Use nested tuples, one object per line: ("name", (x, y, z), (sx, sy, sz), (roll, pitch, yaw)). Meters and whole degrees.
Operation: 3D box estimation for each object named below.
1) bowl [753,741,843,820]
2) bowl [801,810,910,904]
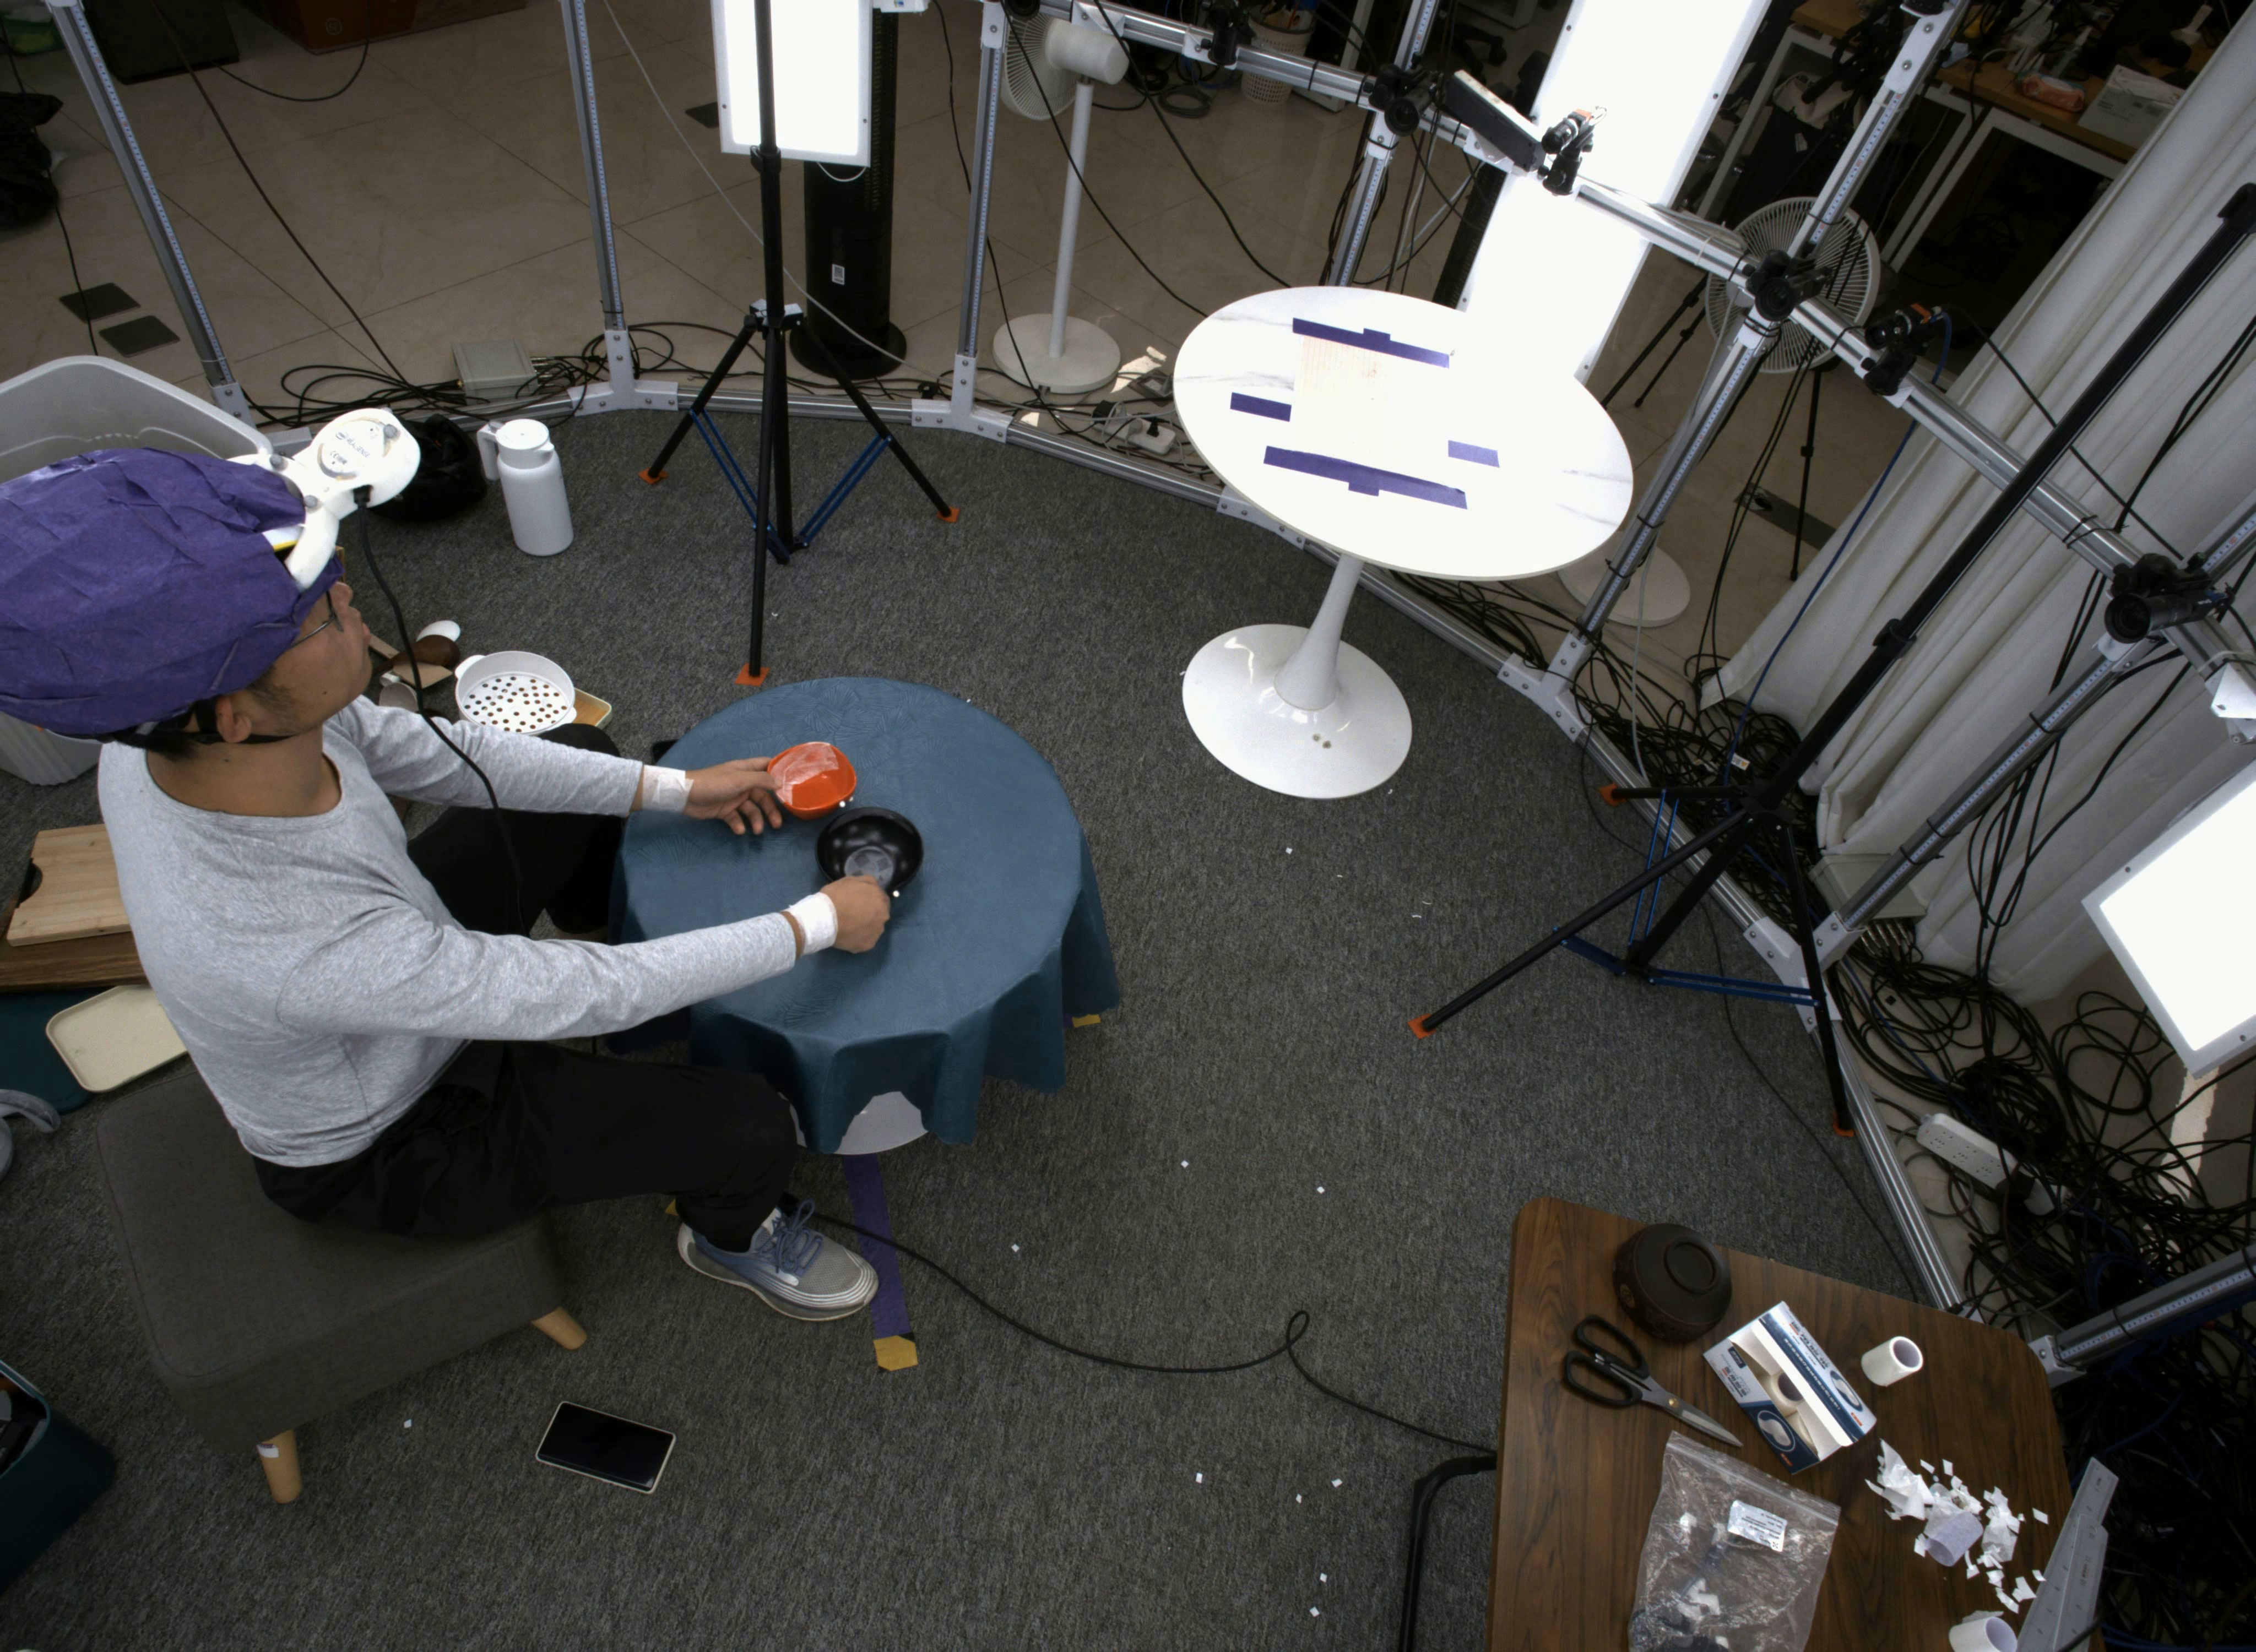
("bowl", (-0.442, -0.054, 1.735), (0.119, 0.052, 0.117), (10, 51, -11))
("bowl", (-0.353, 0.047, 1.690), (0.139, 0.051, 0.137), (5, 54, -5))
